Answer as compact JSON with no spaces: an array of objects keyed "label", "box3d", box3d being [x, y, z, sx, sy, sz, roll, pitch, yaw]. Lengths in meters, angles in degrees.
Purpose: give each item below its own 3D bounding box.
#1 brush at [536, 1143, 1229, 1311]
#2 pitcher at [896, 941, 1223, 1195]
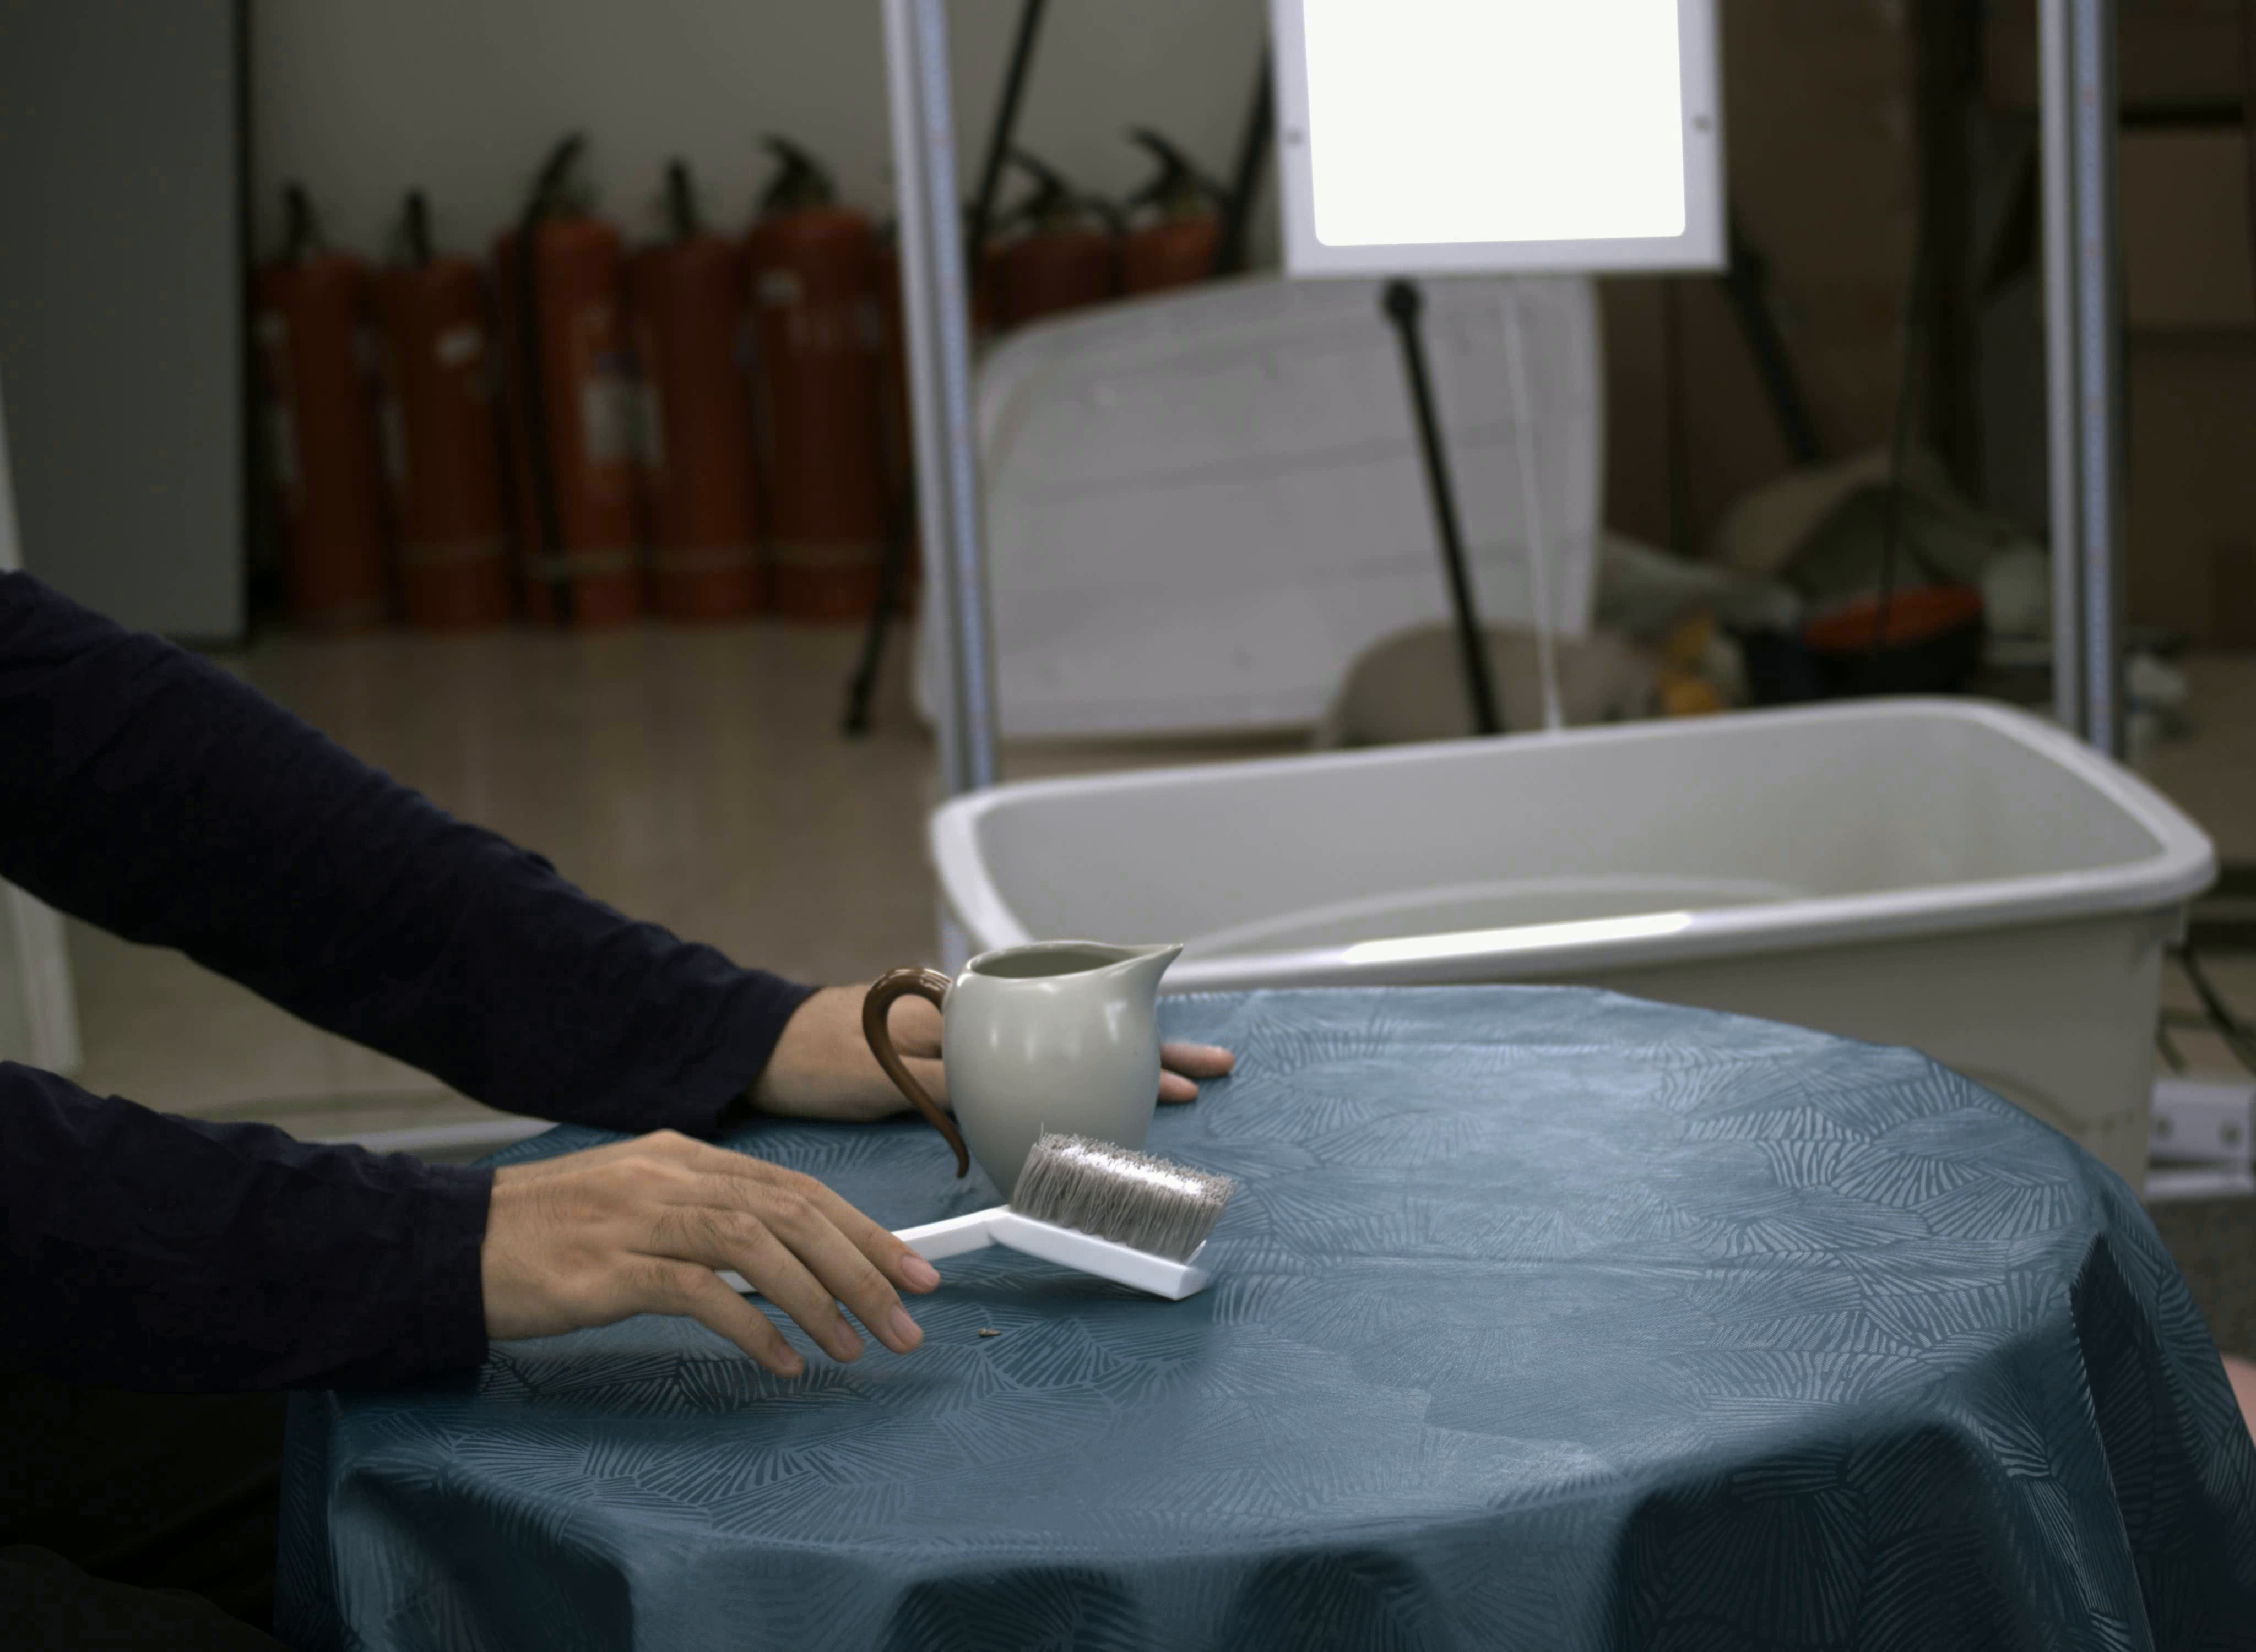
[{"label":"brush","box3d":[-0.085,0.129,1.819,0.247,0.050,0.034,0,20,20]},{"label":"pitcher","box3d":[-0.024,0.083,1.899,0.121,0.088,0.074,3,11,20]}]
